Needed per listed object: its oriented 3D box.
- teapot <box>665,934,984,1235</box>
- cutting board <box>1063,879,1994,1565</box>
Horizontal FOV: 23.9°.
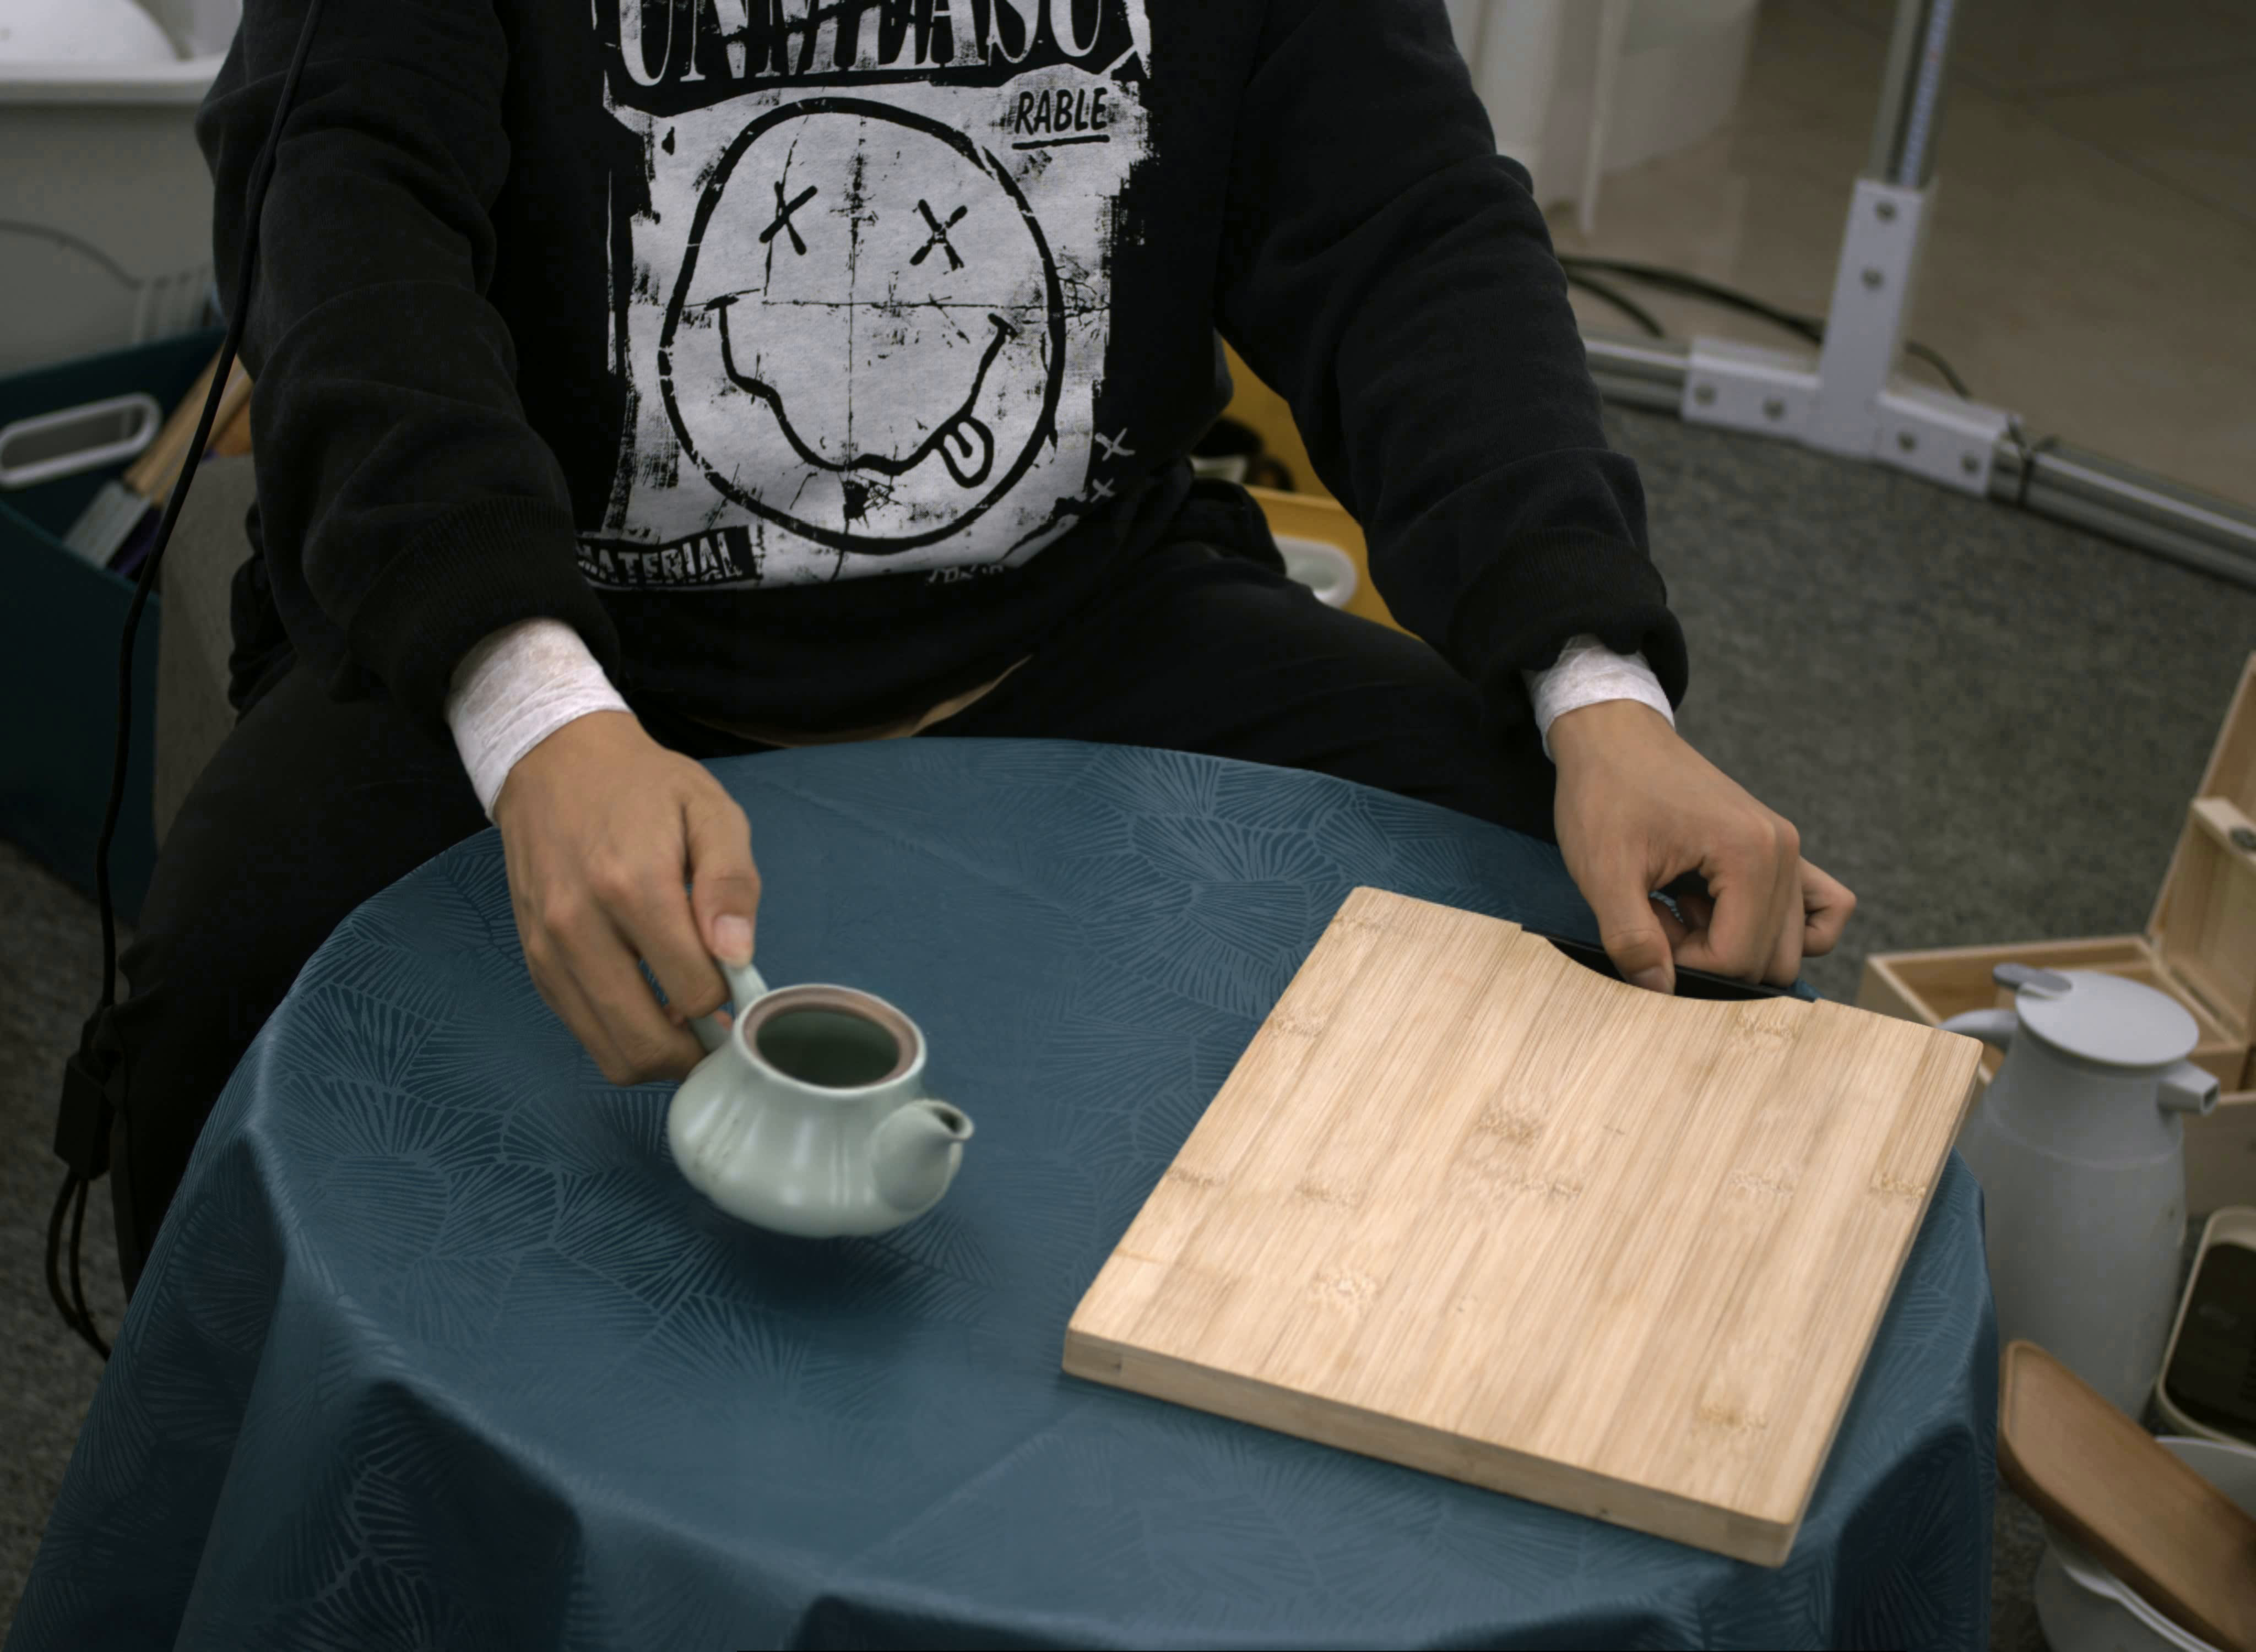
[{"bbox_3d":[-0.102,0.086,1.730,0.138,0.061,0.096,33,39,31],"label":"teapot"},{"bbox_3d":[0.146,0.125,1.817,0.251,0.023,0.349,13,28,13],"label":"cutting board"}]
